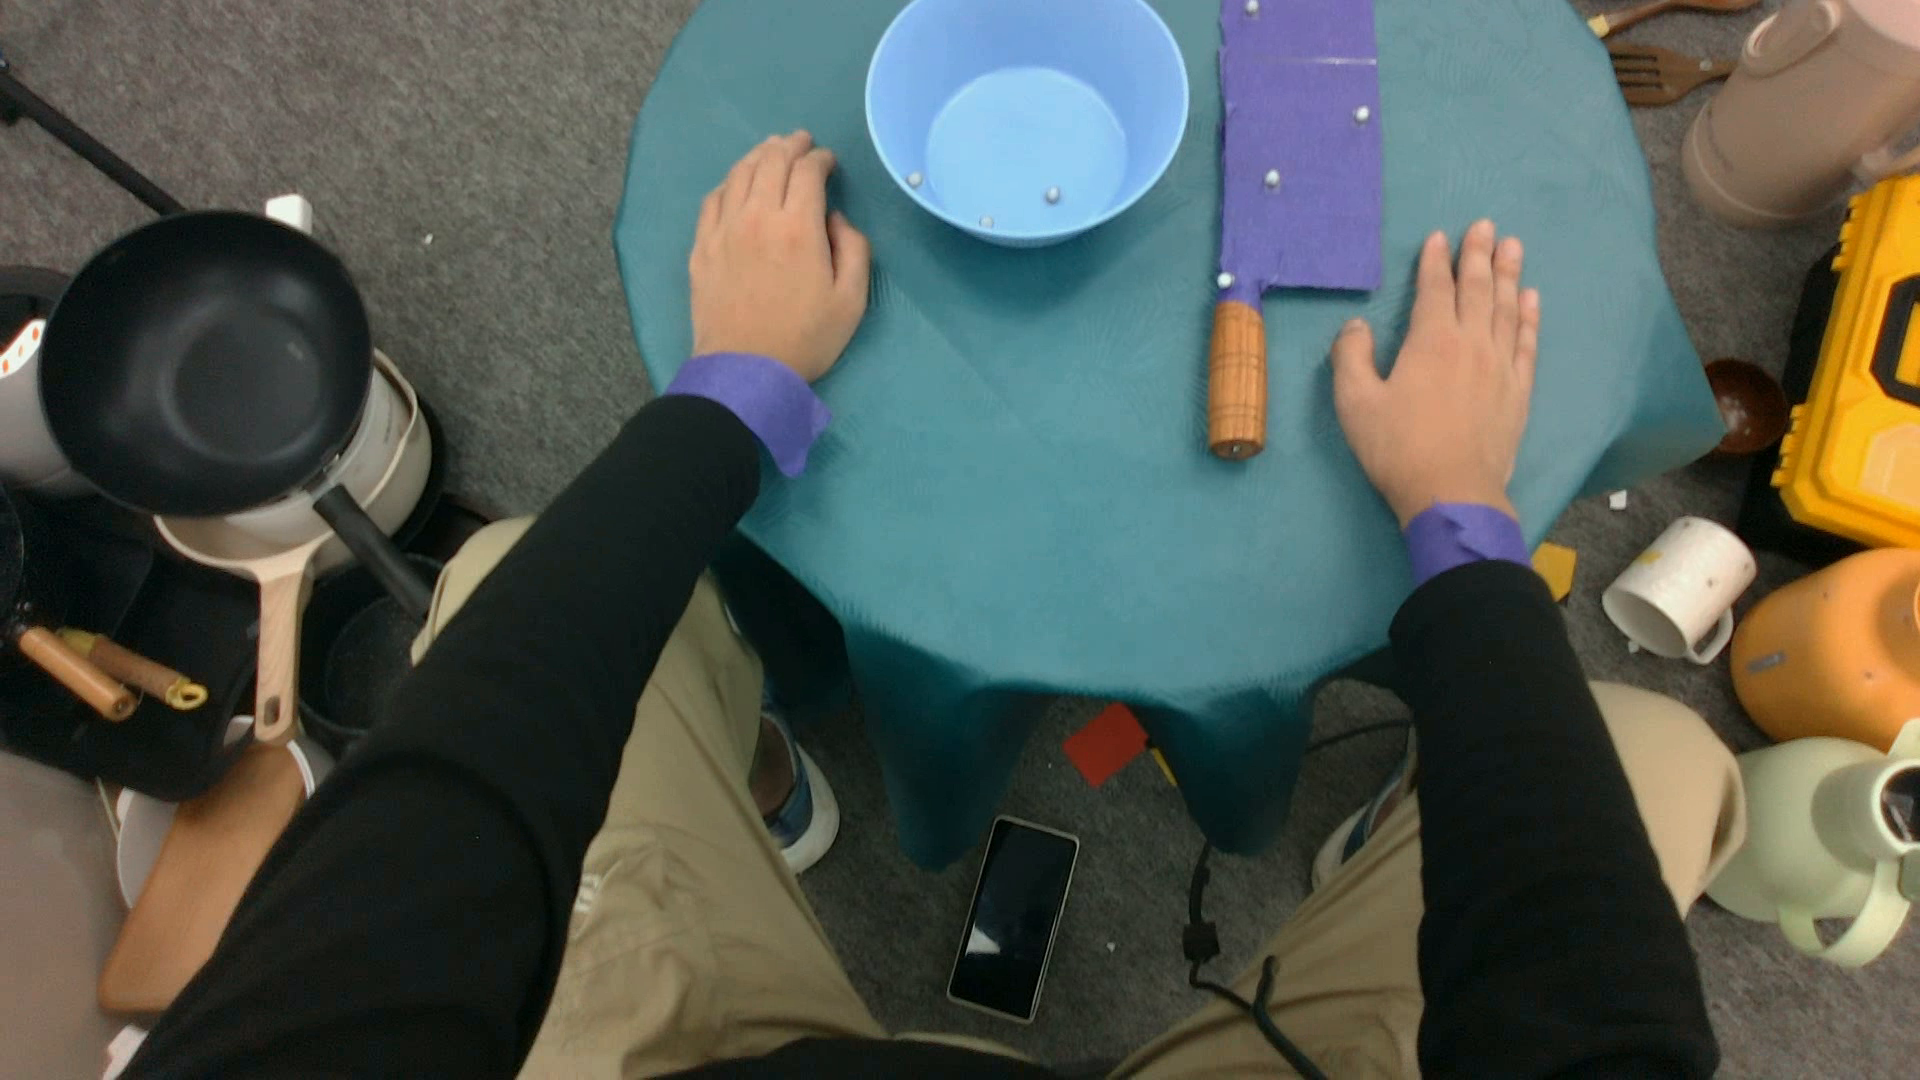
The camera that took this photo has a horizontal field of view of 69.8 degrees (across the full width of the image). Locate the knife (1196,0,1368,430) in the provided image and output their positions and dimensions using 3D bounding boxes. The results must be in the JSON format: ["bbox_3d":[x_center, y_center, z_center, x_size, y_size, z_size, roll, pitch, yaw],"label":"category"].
[{"bbox_3d":[0.182,-0.213,0.785,0.104,0.032,0.316,2,73,3],"label":"knife"}]

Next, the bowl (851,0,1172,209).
[{"bbox_3d":[0.029,-0.255,0.778,0.176,0.070,0.176,-1,75,2],"label":"bowl"}]
